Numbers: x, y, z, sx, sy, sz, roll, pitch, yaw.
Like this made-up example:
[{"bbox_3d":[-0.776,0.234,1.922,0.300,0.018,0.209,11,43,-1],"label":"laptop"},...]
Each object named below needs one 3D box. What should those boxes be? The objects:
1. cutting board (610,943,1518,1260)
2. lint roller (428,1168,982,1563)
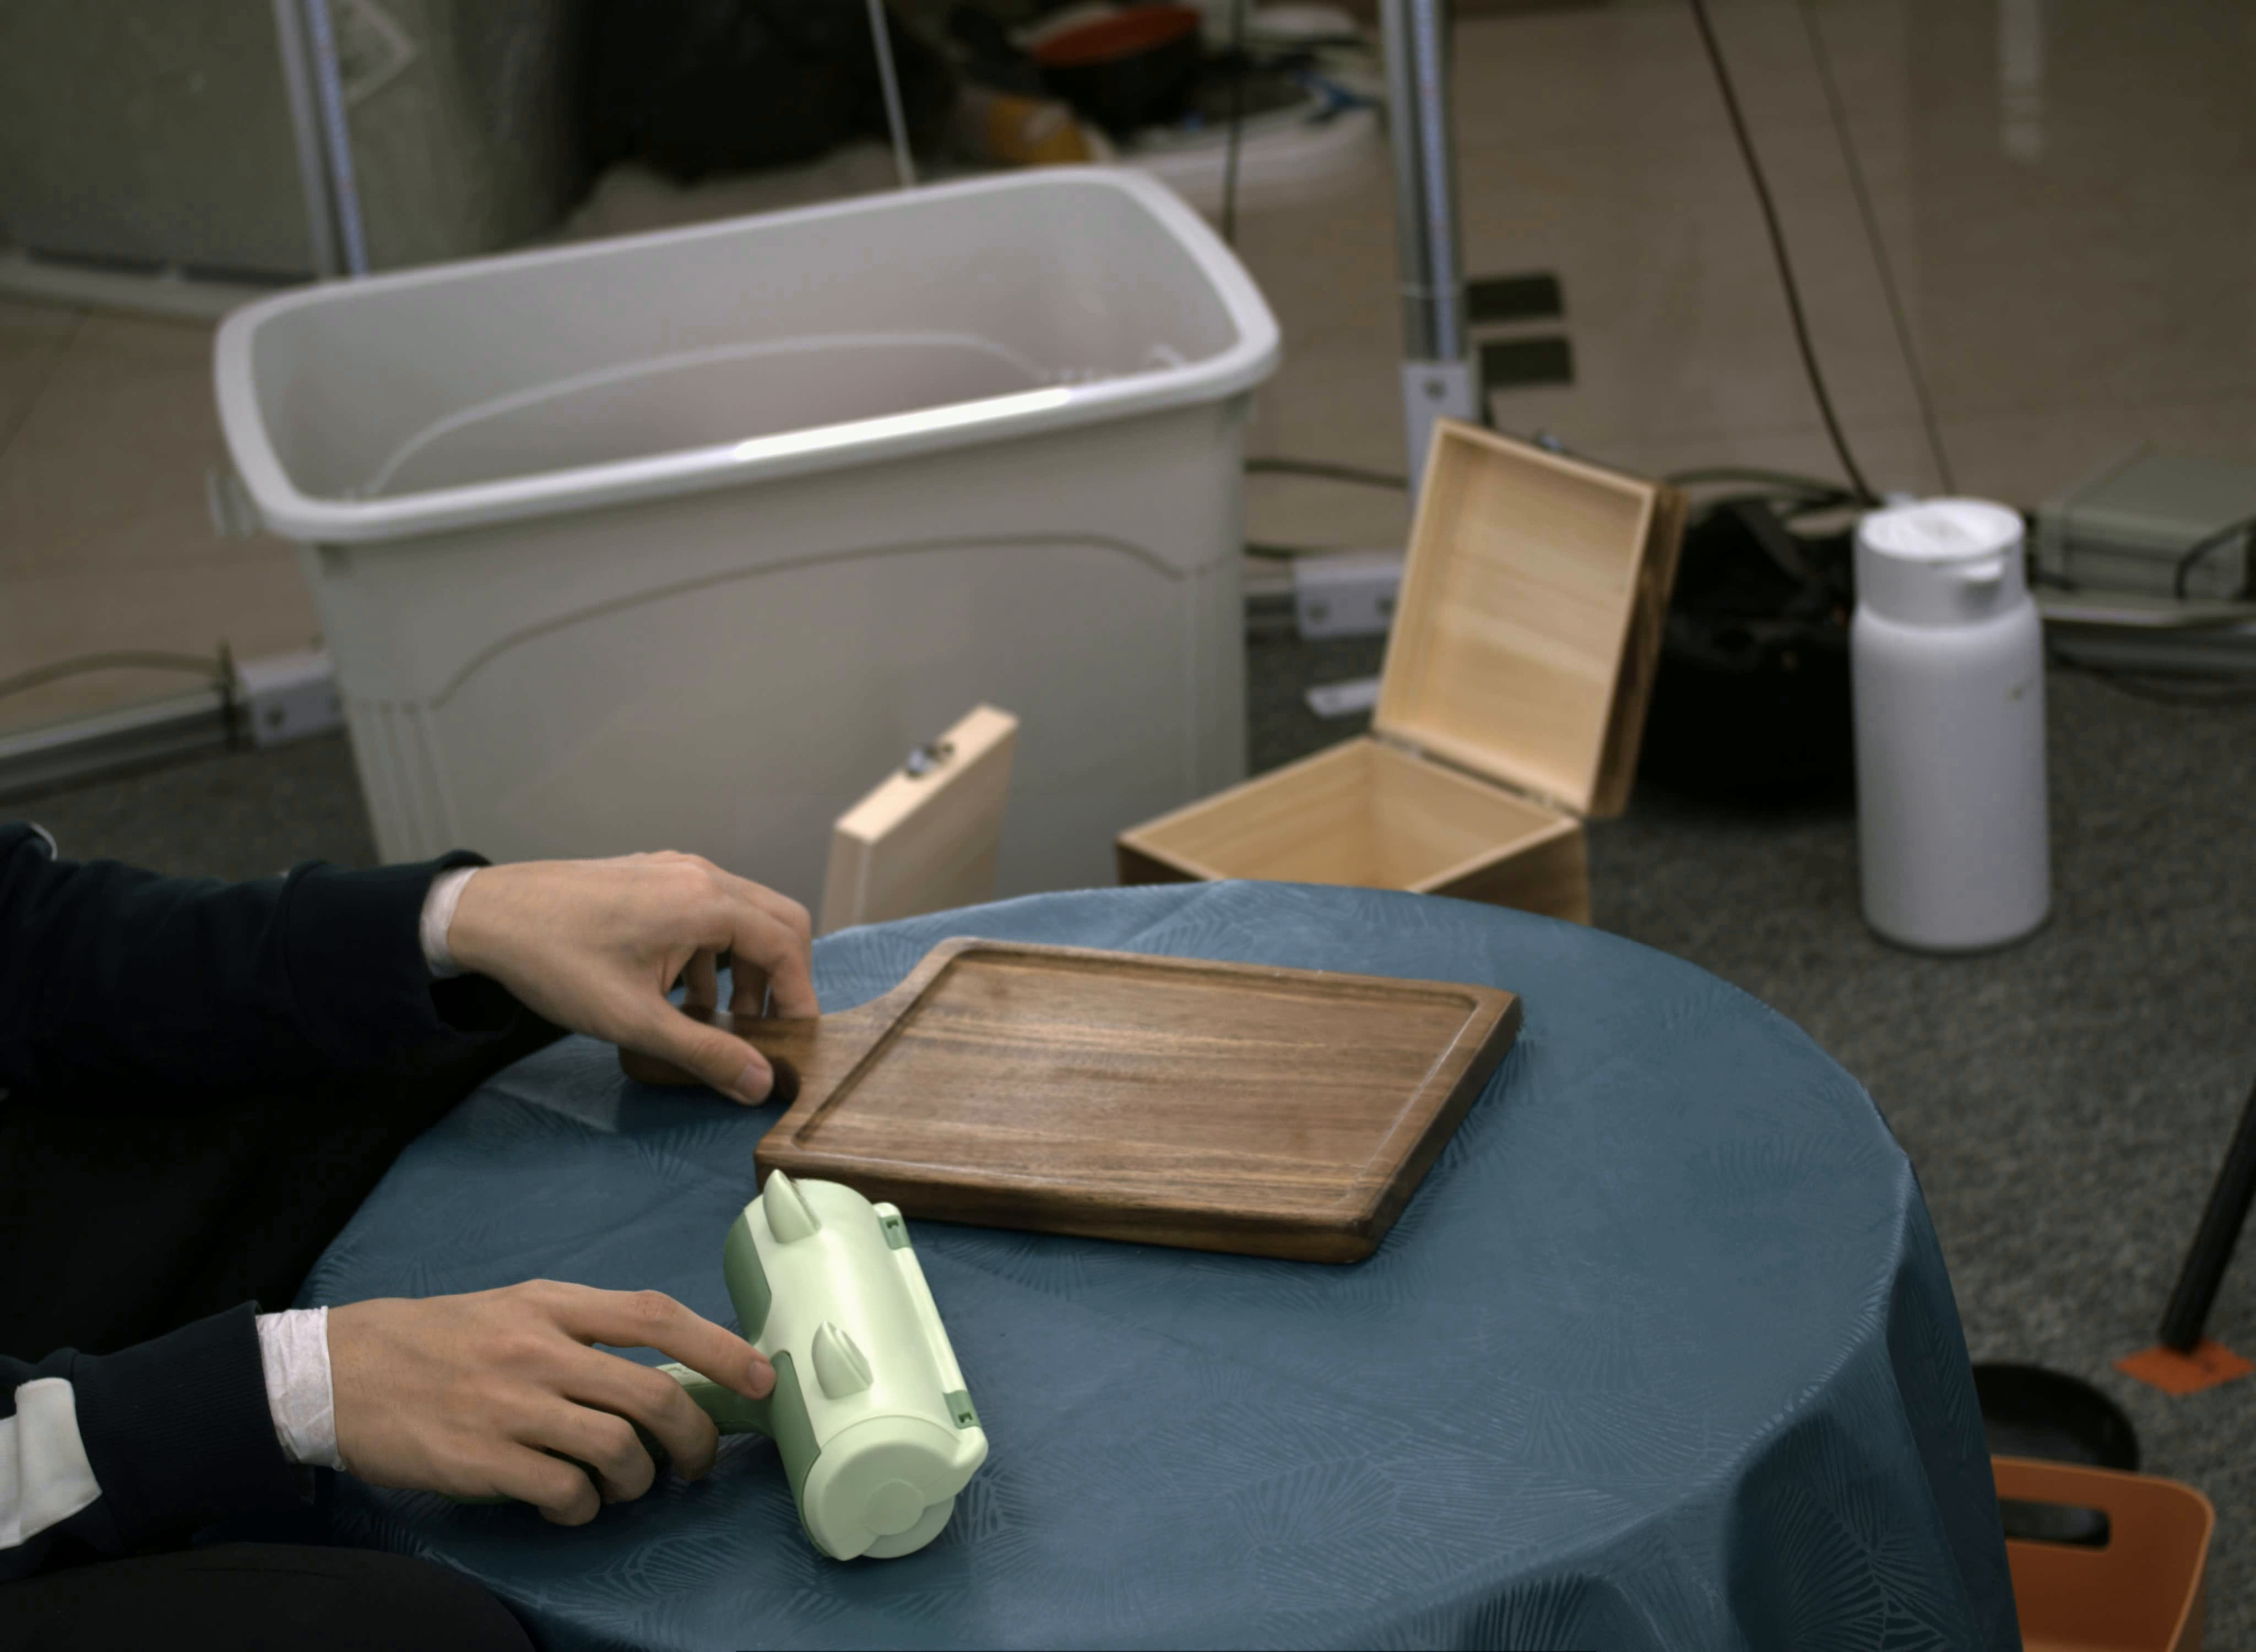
[{"bbox_3d":[-0.040,0.100,2.209,0.351,0.023,0.198,4,27,21],"label":"cutting board"},{"bbox_3d":[-0.156,0.188,1.985,0.183,0.083,0.196,-6,25,-10],"label":"lint roller"}]
